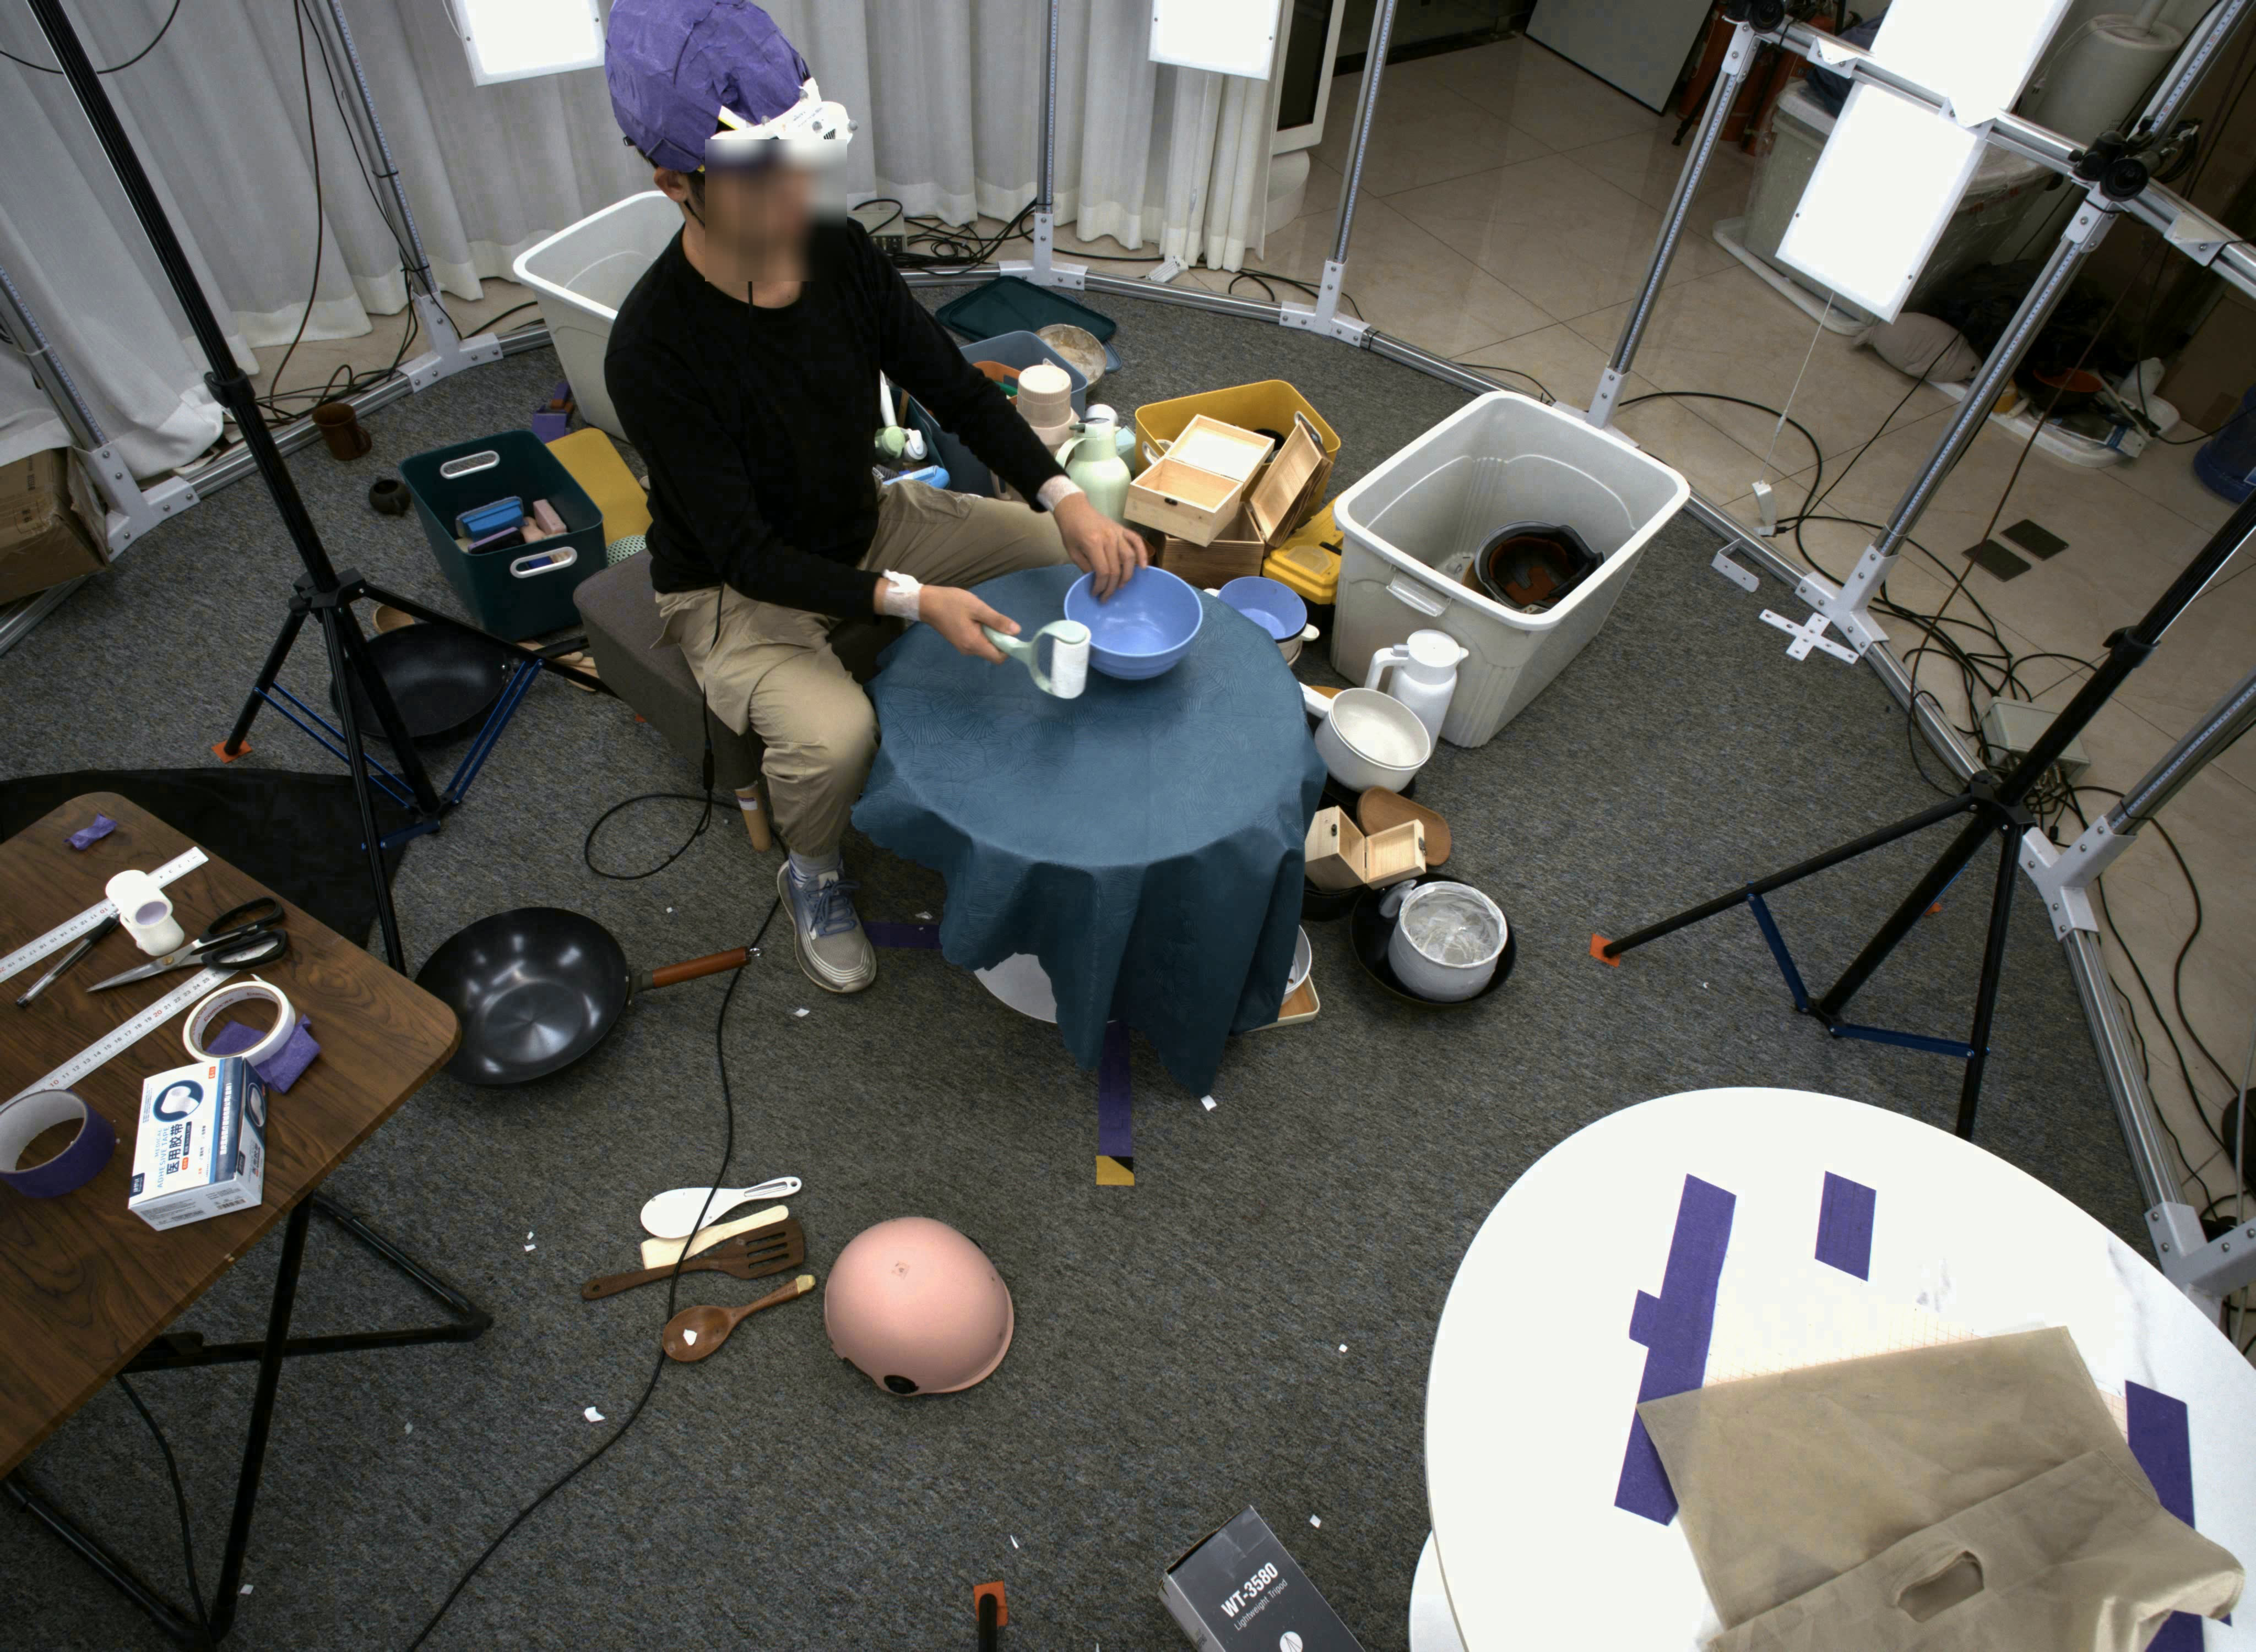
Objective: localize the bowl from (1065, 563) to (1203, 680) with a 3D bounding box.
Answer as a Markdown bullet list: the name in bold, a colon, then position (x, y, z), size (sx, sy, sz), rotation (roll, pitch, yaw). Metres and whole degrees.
- **bowl**: position (0.006, -0.279, 1.848), size (0.196, 0.093, 0.201), rotation (2, 51, -2)

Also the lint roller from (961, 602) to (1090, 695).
- **lint roller**: position (-0.143, -0.255, 1.738), size (0.198, 0.114, 0.049), rotation (22, 54, 11)
